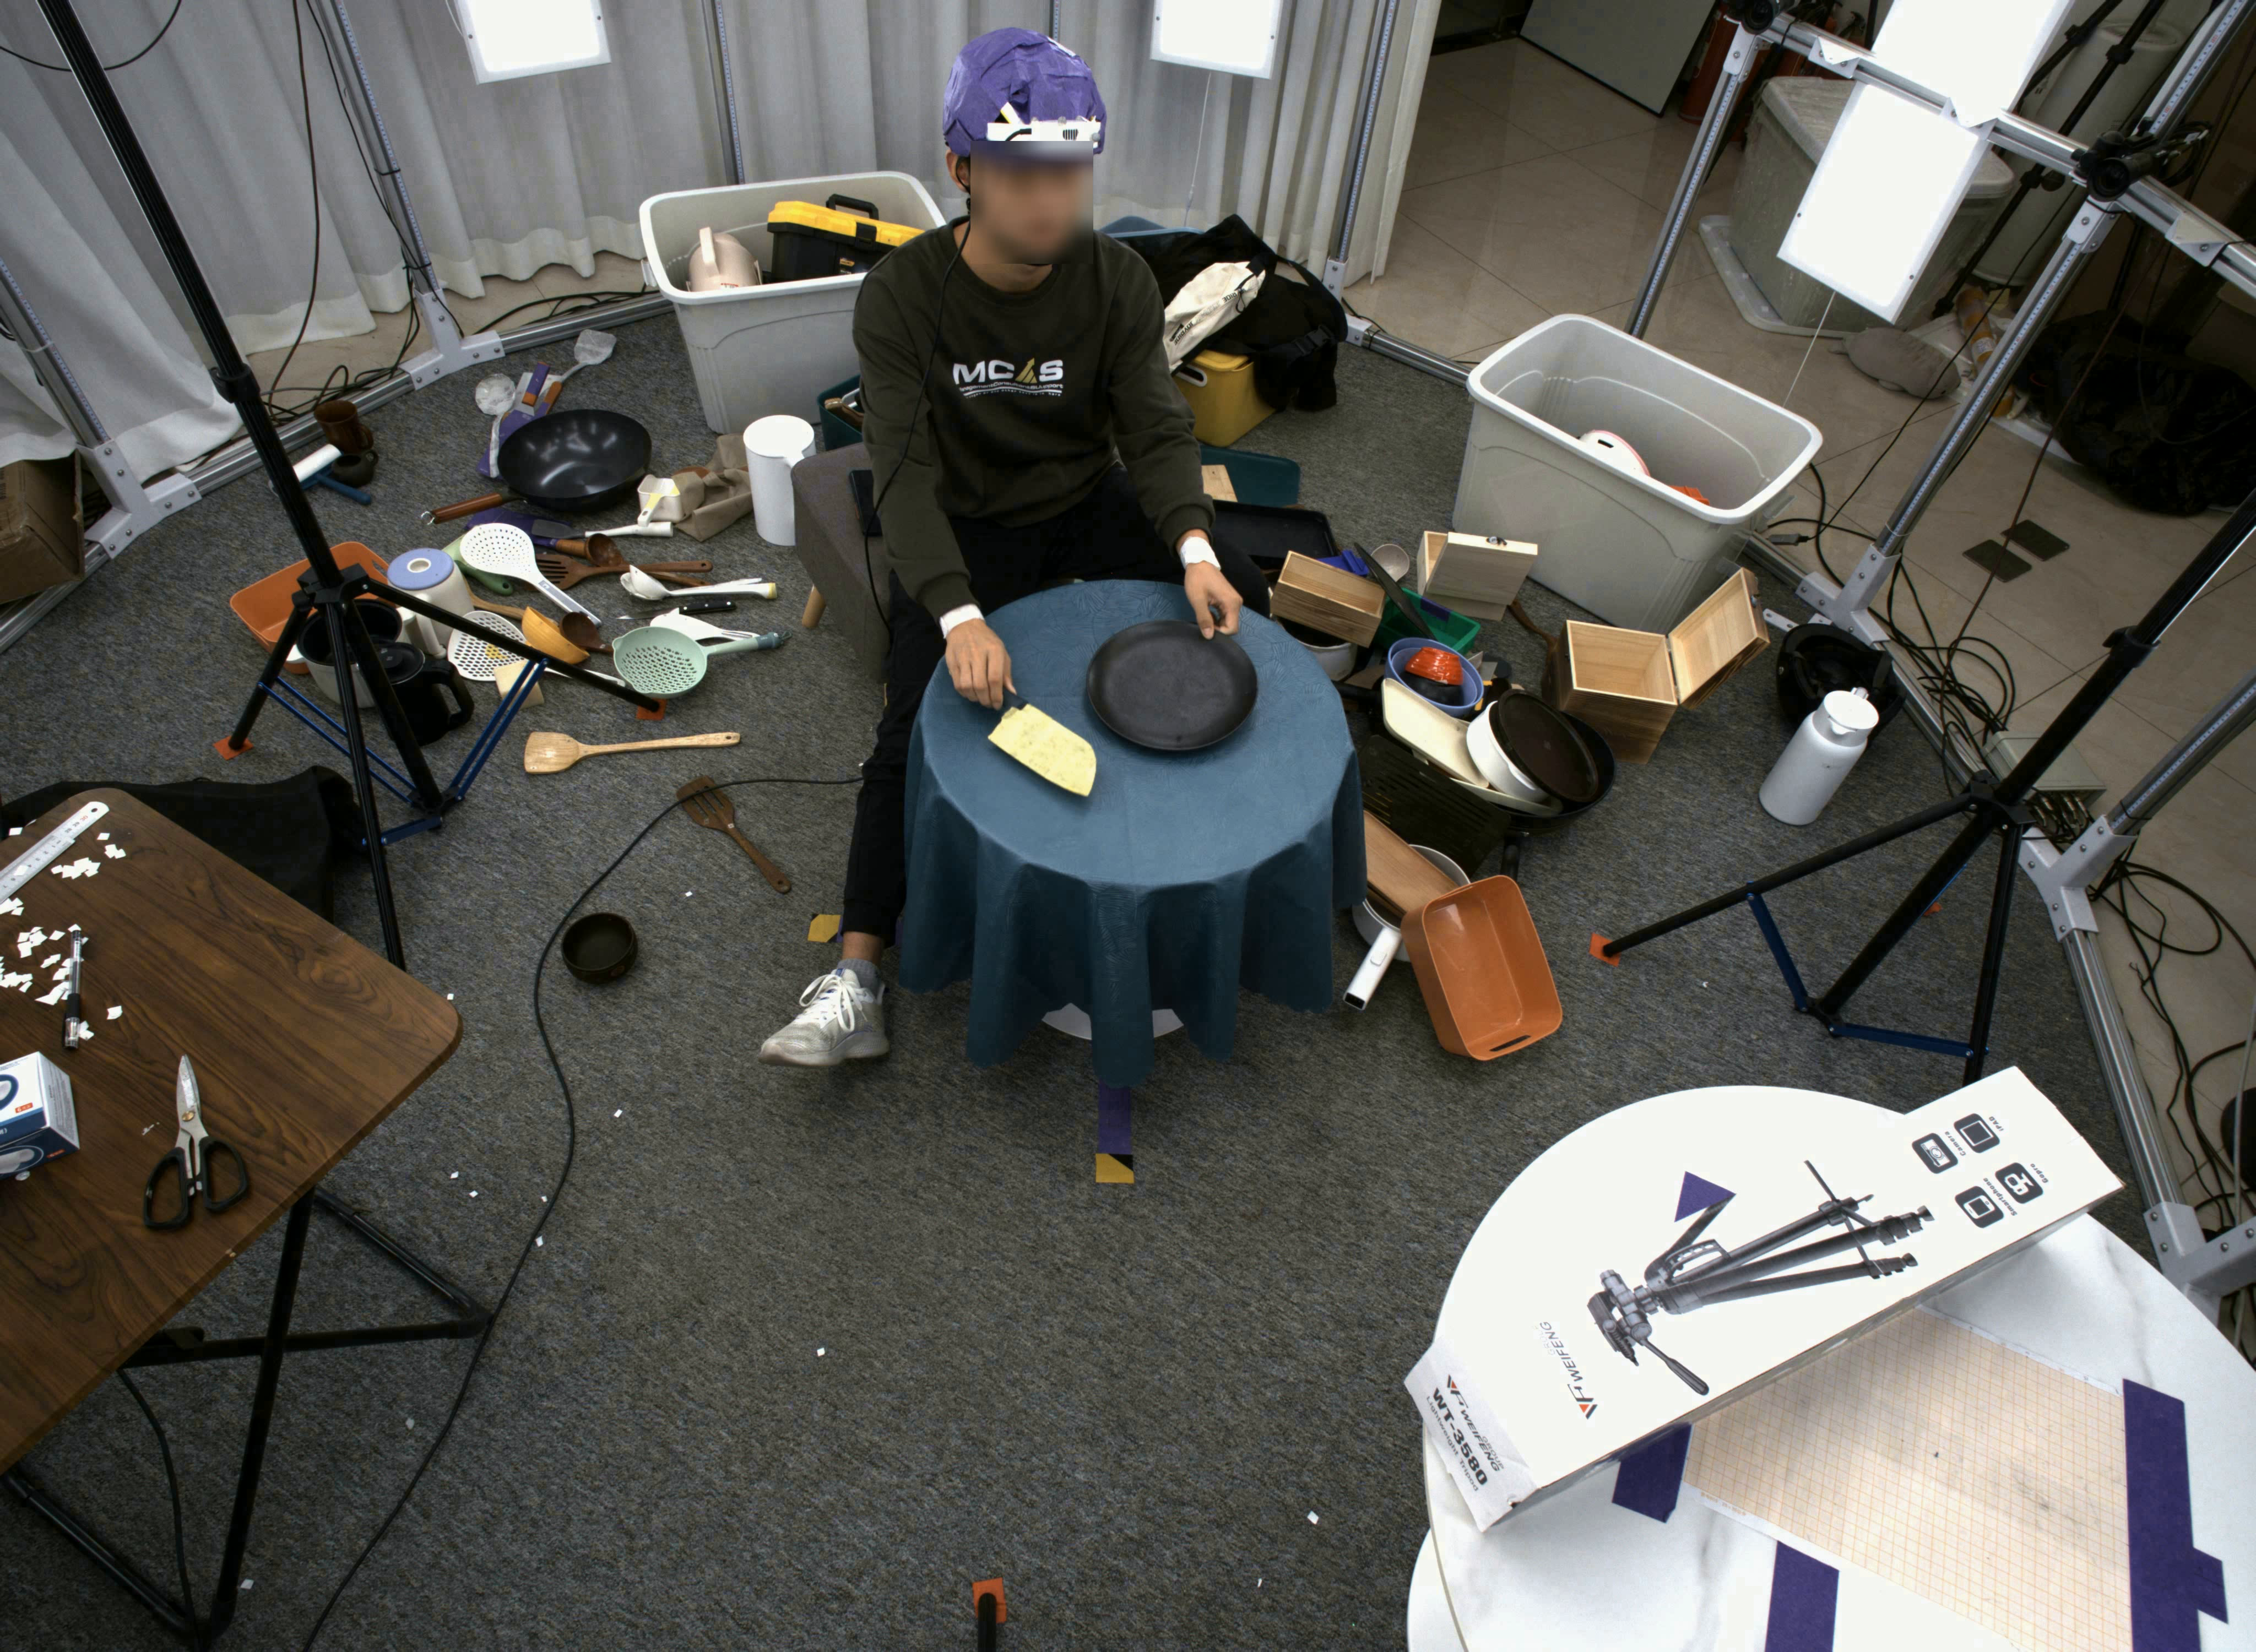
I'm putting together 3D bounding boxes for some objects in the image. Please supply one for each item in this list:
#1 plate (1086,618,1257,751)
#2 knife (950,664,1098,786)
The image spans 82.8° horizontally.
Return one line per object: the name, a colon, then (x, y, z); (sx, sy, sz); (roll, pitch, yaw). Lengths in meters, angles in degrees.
plate: (0.061, -0.199, 1.817); (0.244, 0.023, 0.250); (0, 54, -1)
knife: (-0.148, -0.138, 1.737); (0.294, 0.026, 0.081); (37, 76, 28)
